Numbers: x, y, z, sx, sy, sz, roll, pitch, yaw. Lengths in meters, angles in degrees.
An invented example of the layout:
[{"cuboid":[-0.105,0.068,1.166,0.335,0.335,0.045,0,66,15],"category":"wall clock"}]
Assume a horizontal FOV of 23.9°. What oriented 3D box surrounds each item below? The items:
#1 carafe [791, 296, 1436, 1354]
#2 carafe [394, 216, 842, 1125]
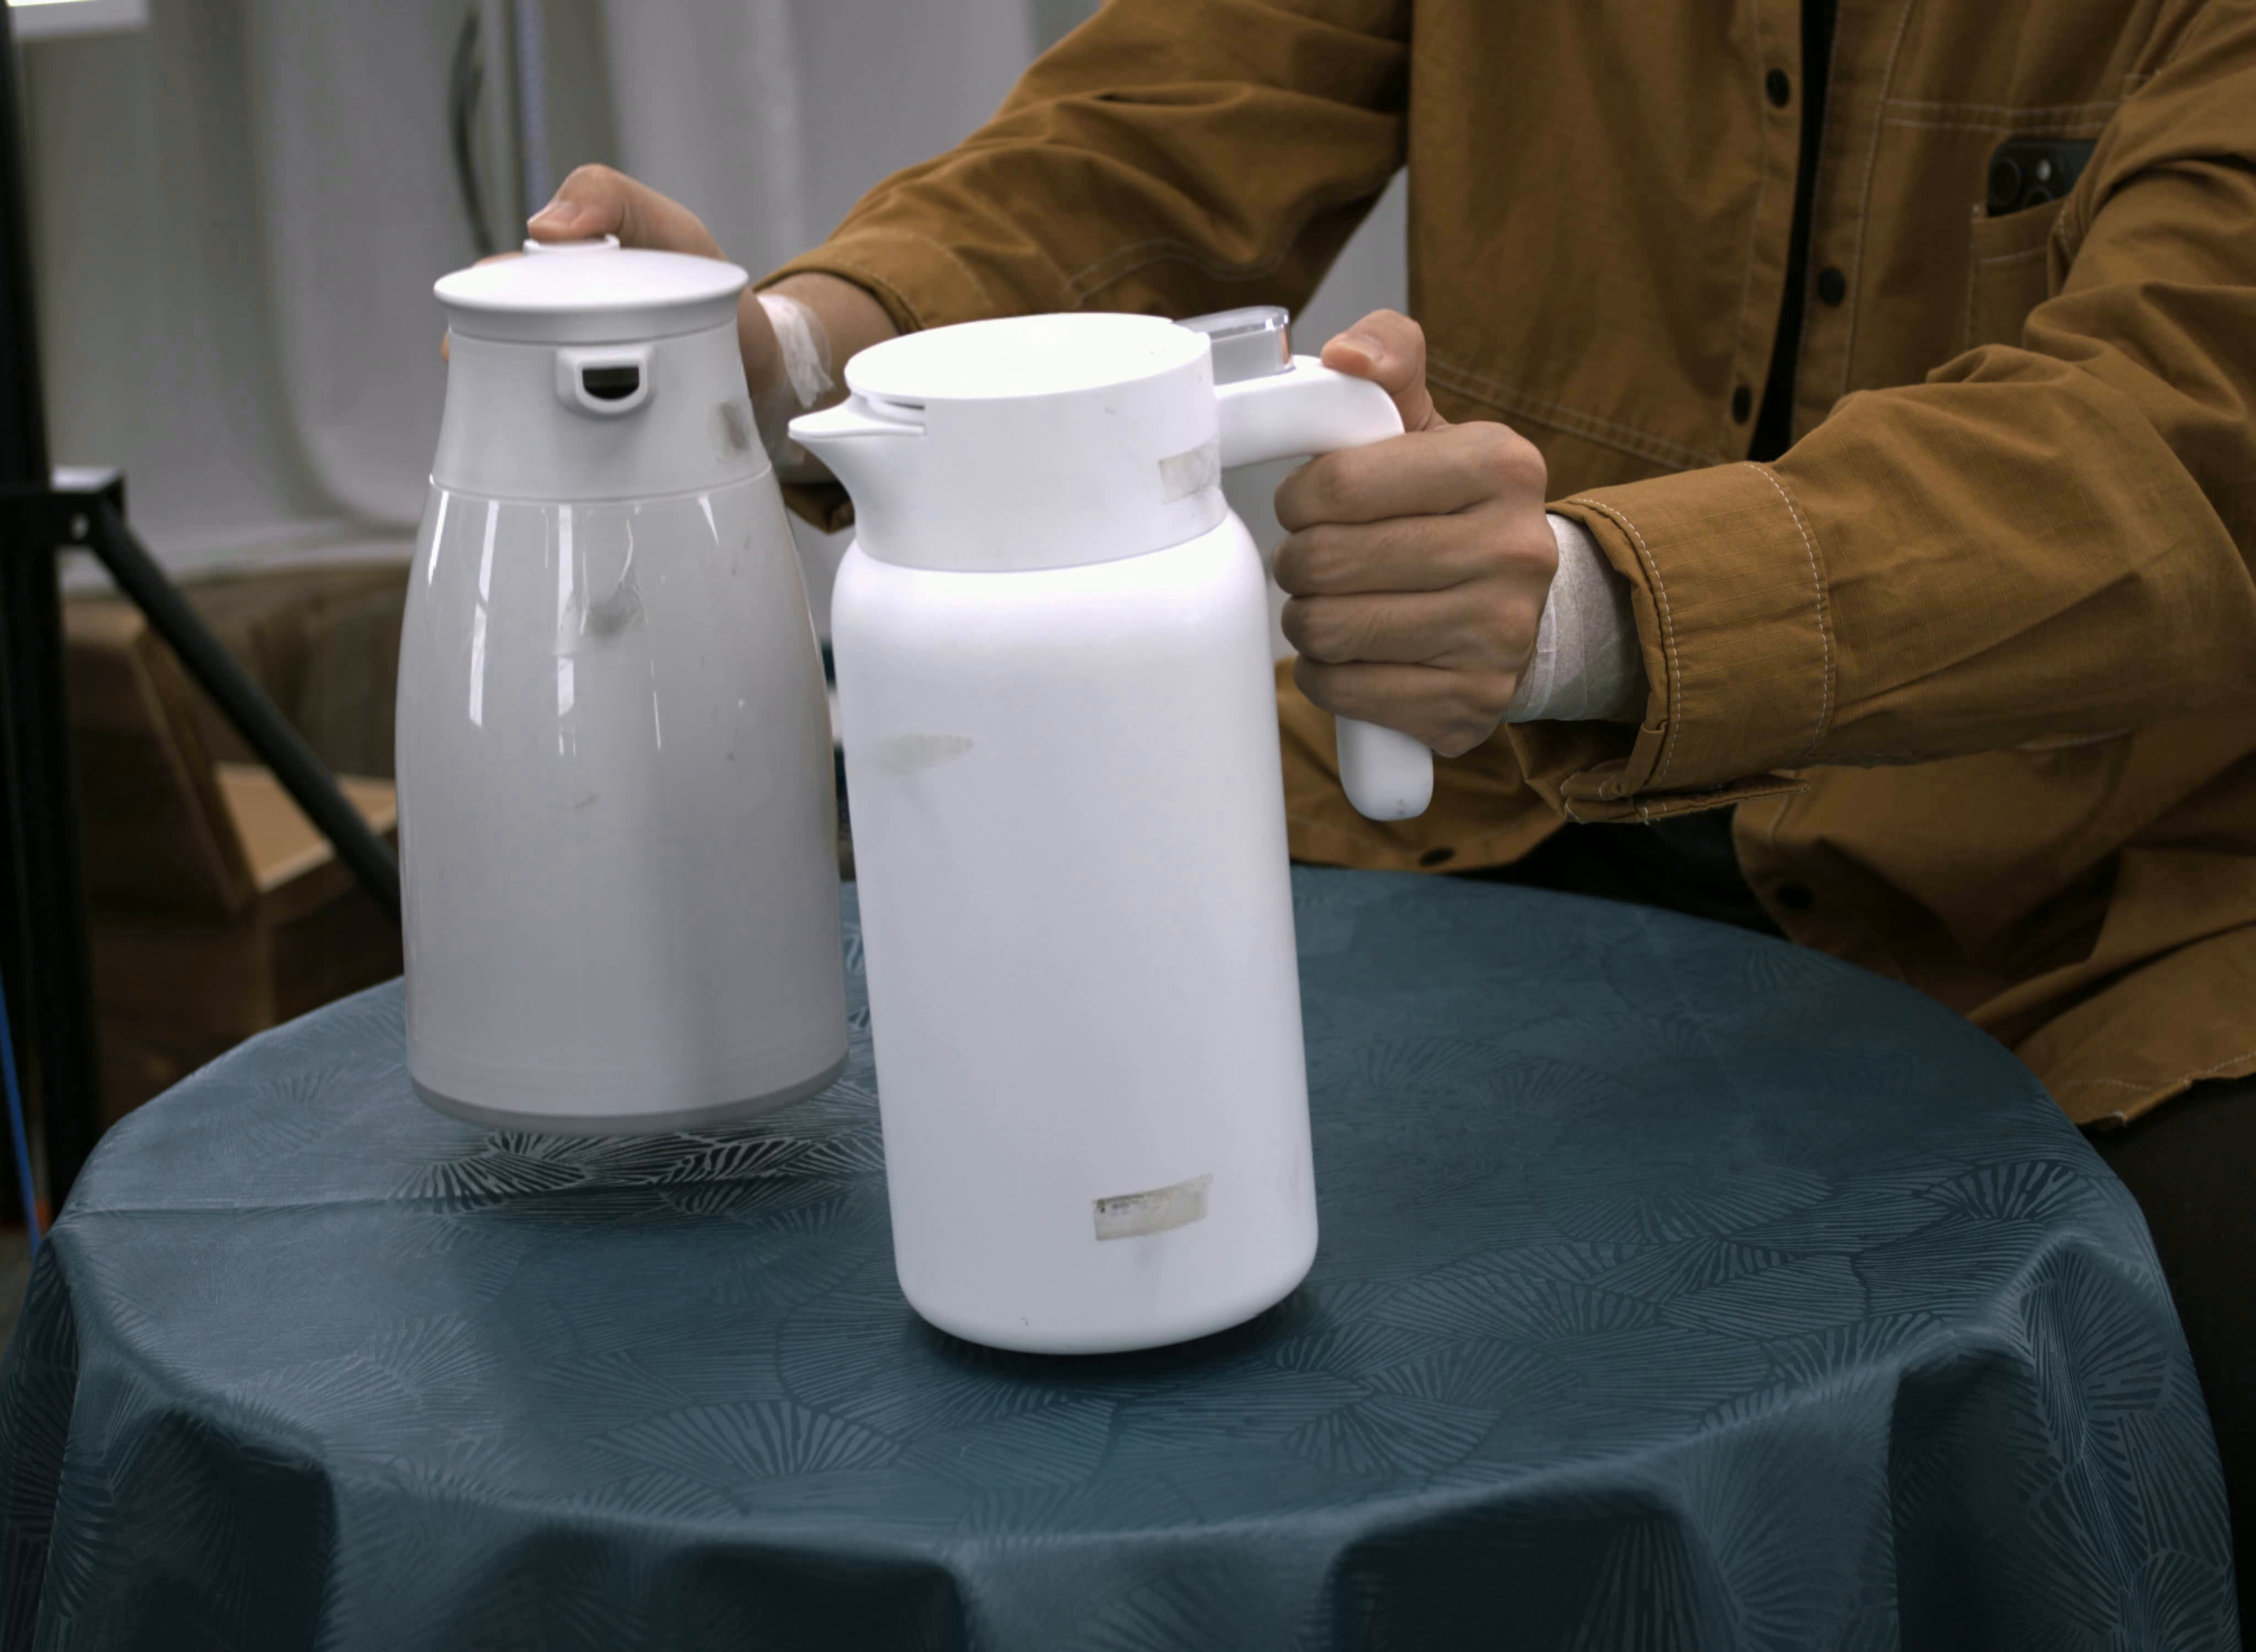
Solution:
[{"cuboid":[0.001,-0.004,1.430,0.169,0.269,0.126,-11,15,-21],"category":"carafe"},{"cuboid":[-0.157,-0.054,1.588,0.131,0.249,0.169,-4,13,-10],"category":"carafe"}]
